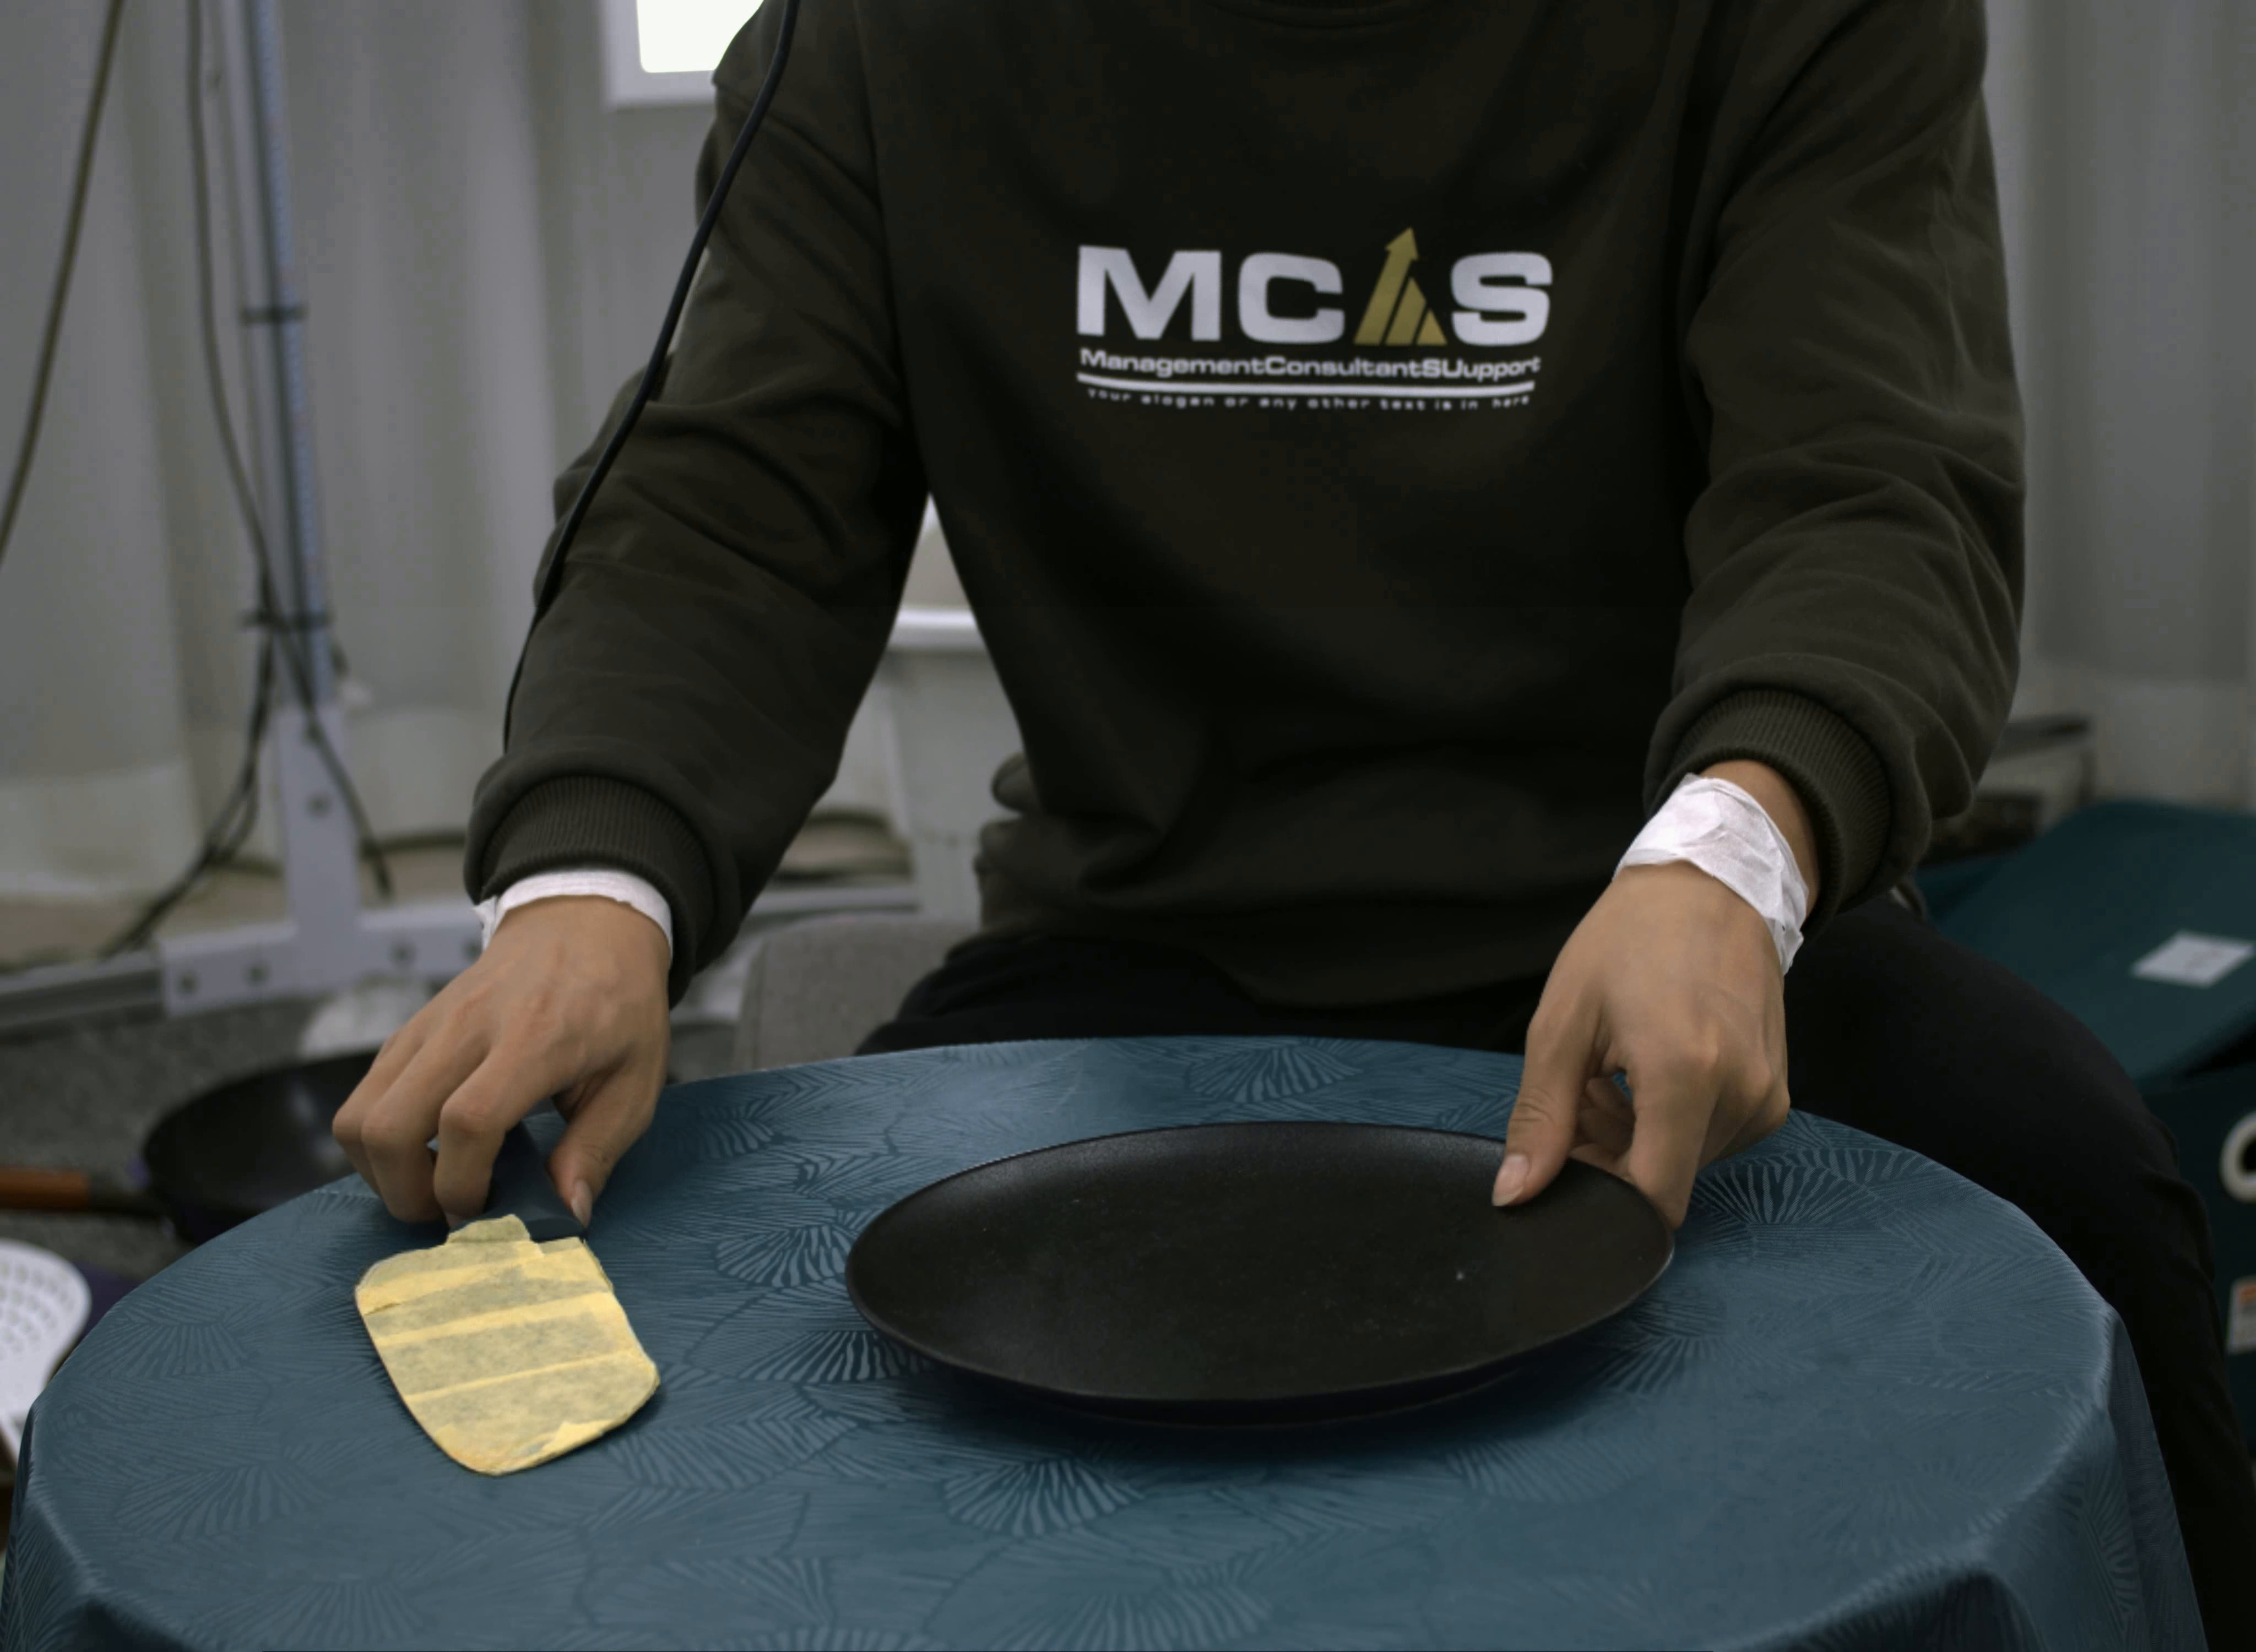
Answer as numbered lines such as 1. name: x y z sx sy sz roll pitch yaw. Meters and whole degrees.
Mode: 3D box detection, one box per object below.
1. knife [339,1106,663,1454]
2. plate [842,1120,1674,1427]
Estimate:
1. knife: -0.195 0.136 1.644 0.080 0.027 0.292 -6 16 -13
2. plate: 0.038 0.133 1.596 0.243 0.023 0.246 -3 15 0
